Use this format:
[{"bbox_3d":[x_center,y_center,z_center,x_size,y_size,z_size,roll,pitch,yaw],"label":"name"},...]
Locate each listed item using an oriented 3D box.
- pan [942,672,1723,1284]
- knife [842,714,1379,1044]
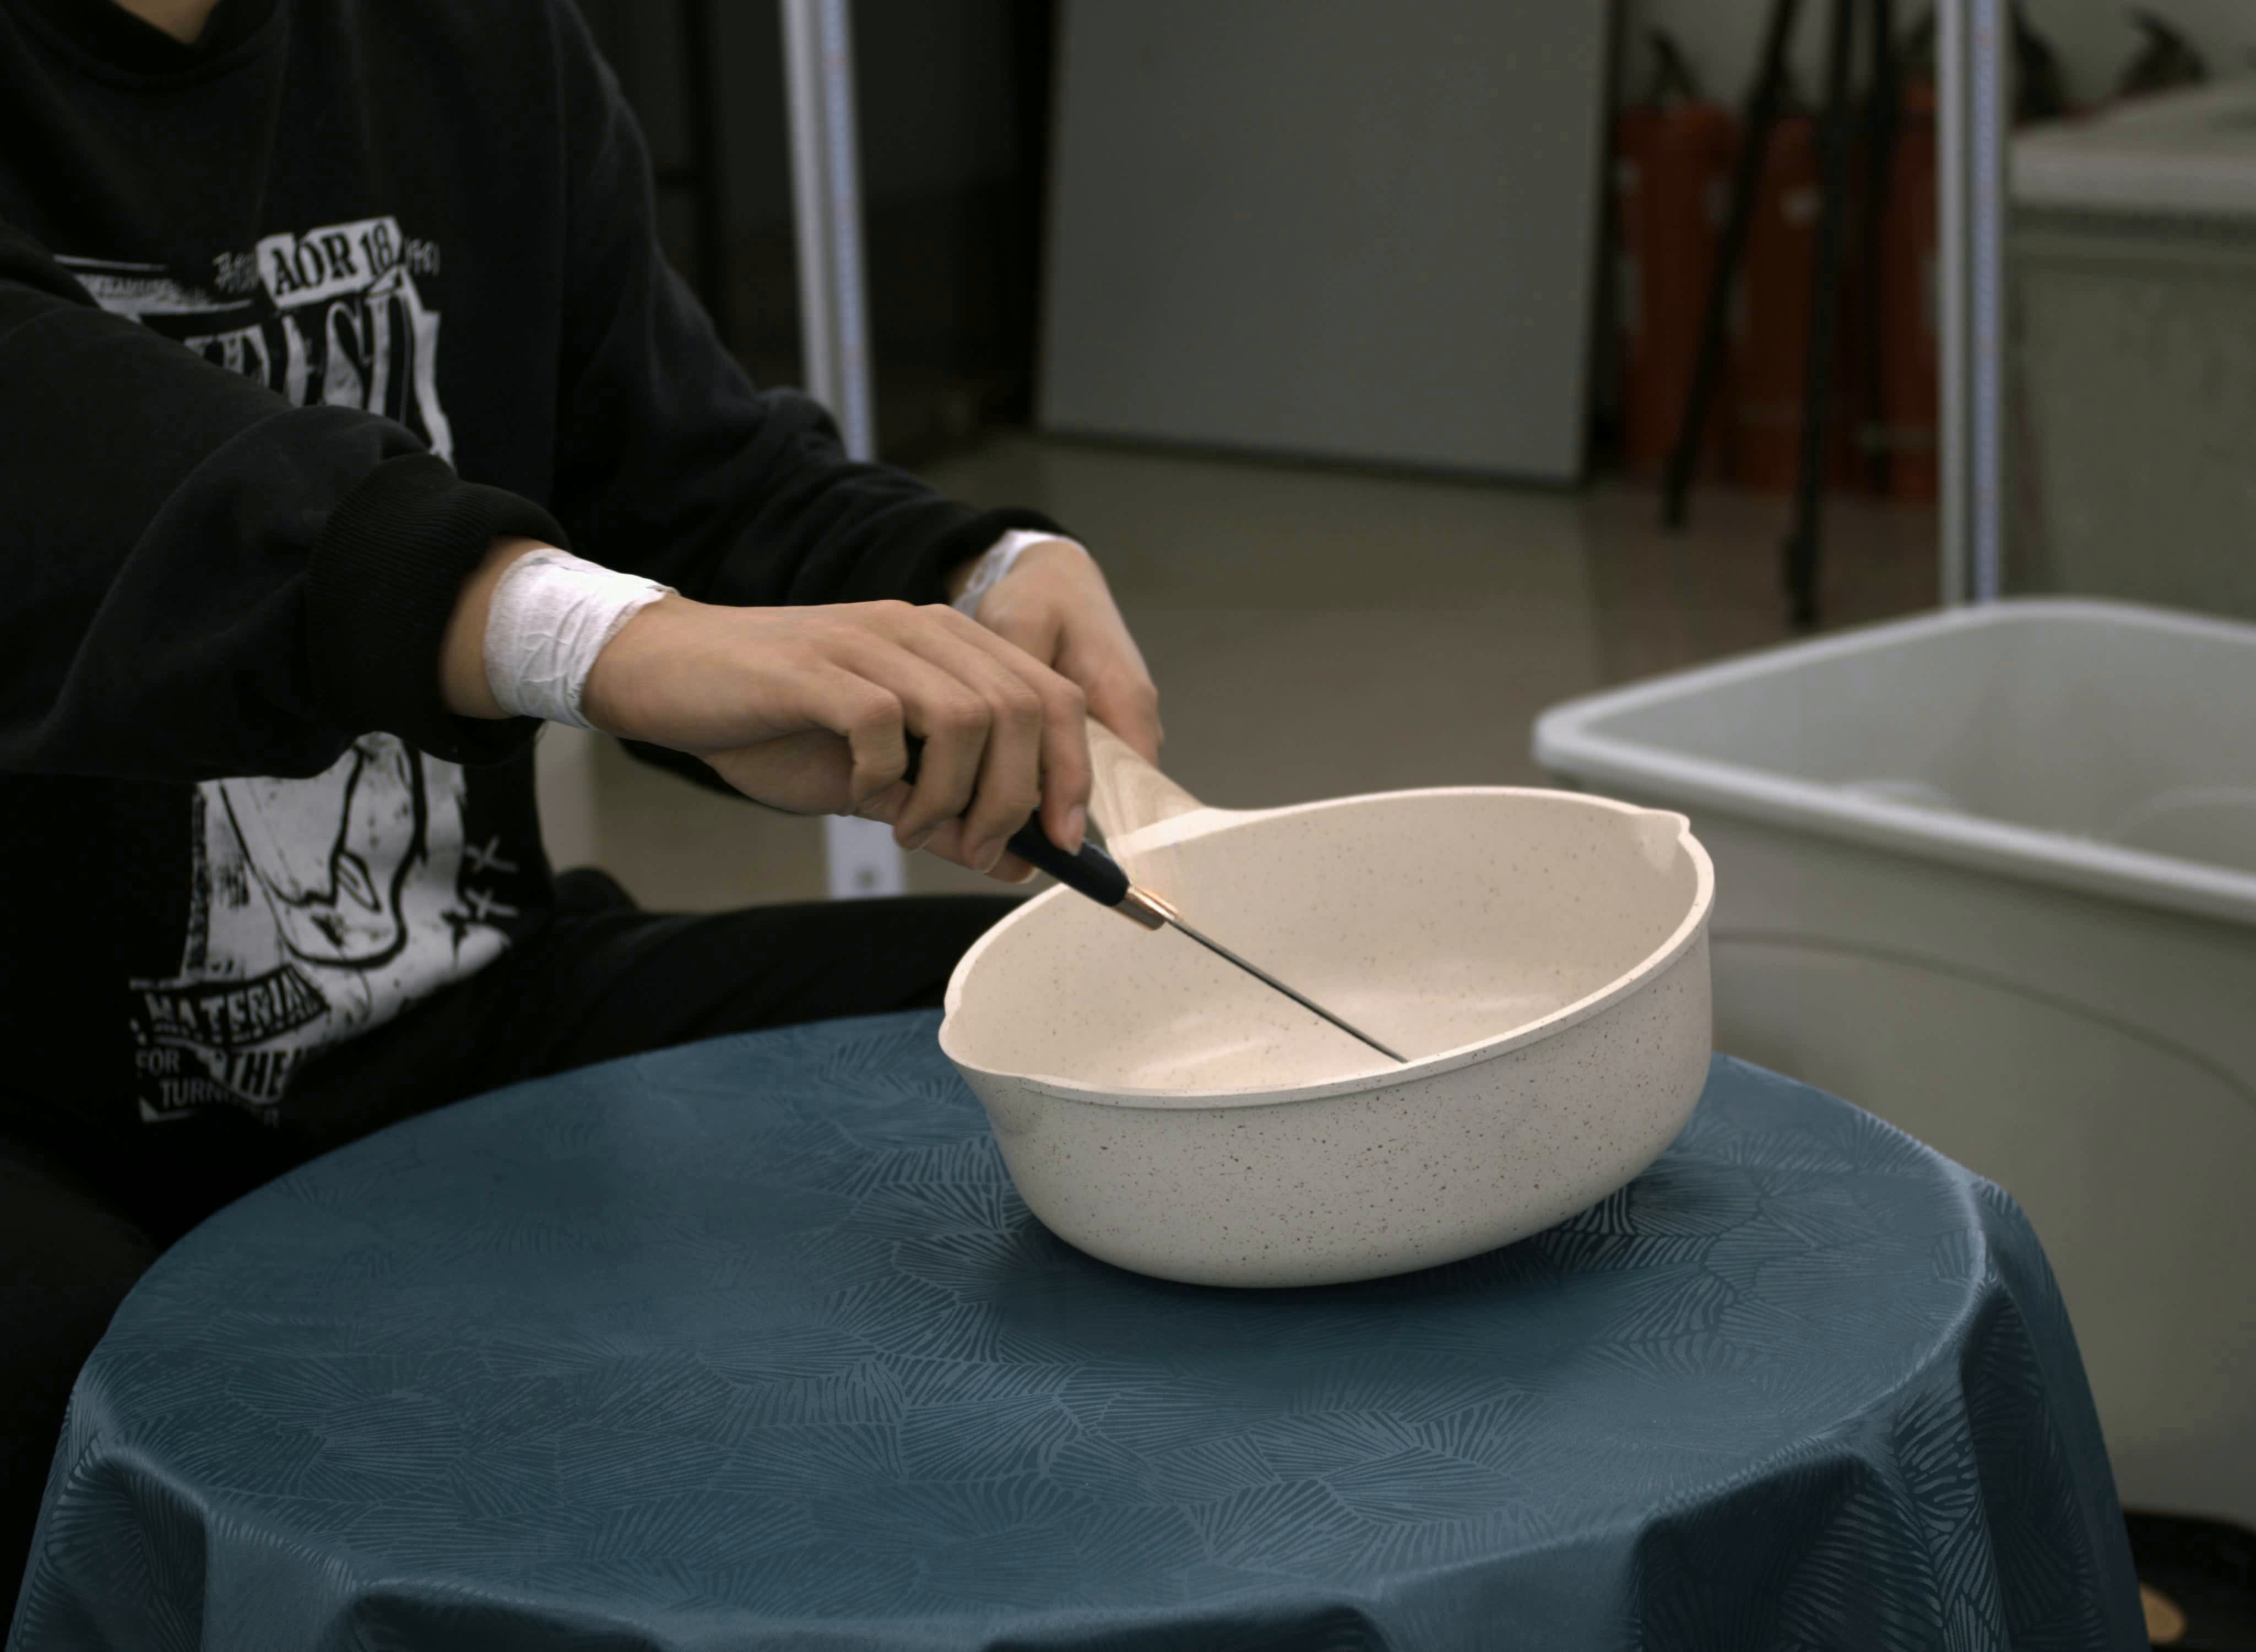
[{"bbox_3d":[0.038,0.040,1.814,0.259,0.103,0.439,-20,20,-17],"label":"pan"},{"bbox_3d":[0.006,0.025,1.615,0.222,0.017,0.026,31,-9,-21],"label":"knife"}]
